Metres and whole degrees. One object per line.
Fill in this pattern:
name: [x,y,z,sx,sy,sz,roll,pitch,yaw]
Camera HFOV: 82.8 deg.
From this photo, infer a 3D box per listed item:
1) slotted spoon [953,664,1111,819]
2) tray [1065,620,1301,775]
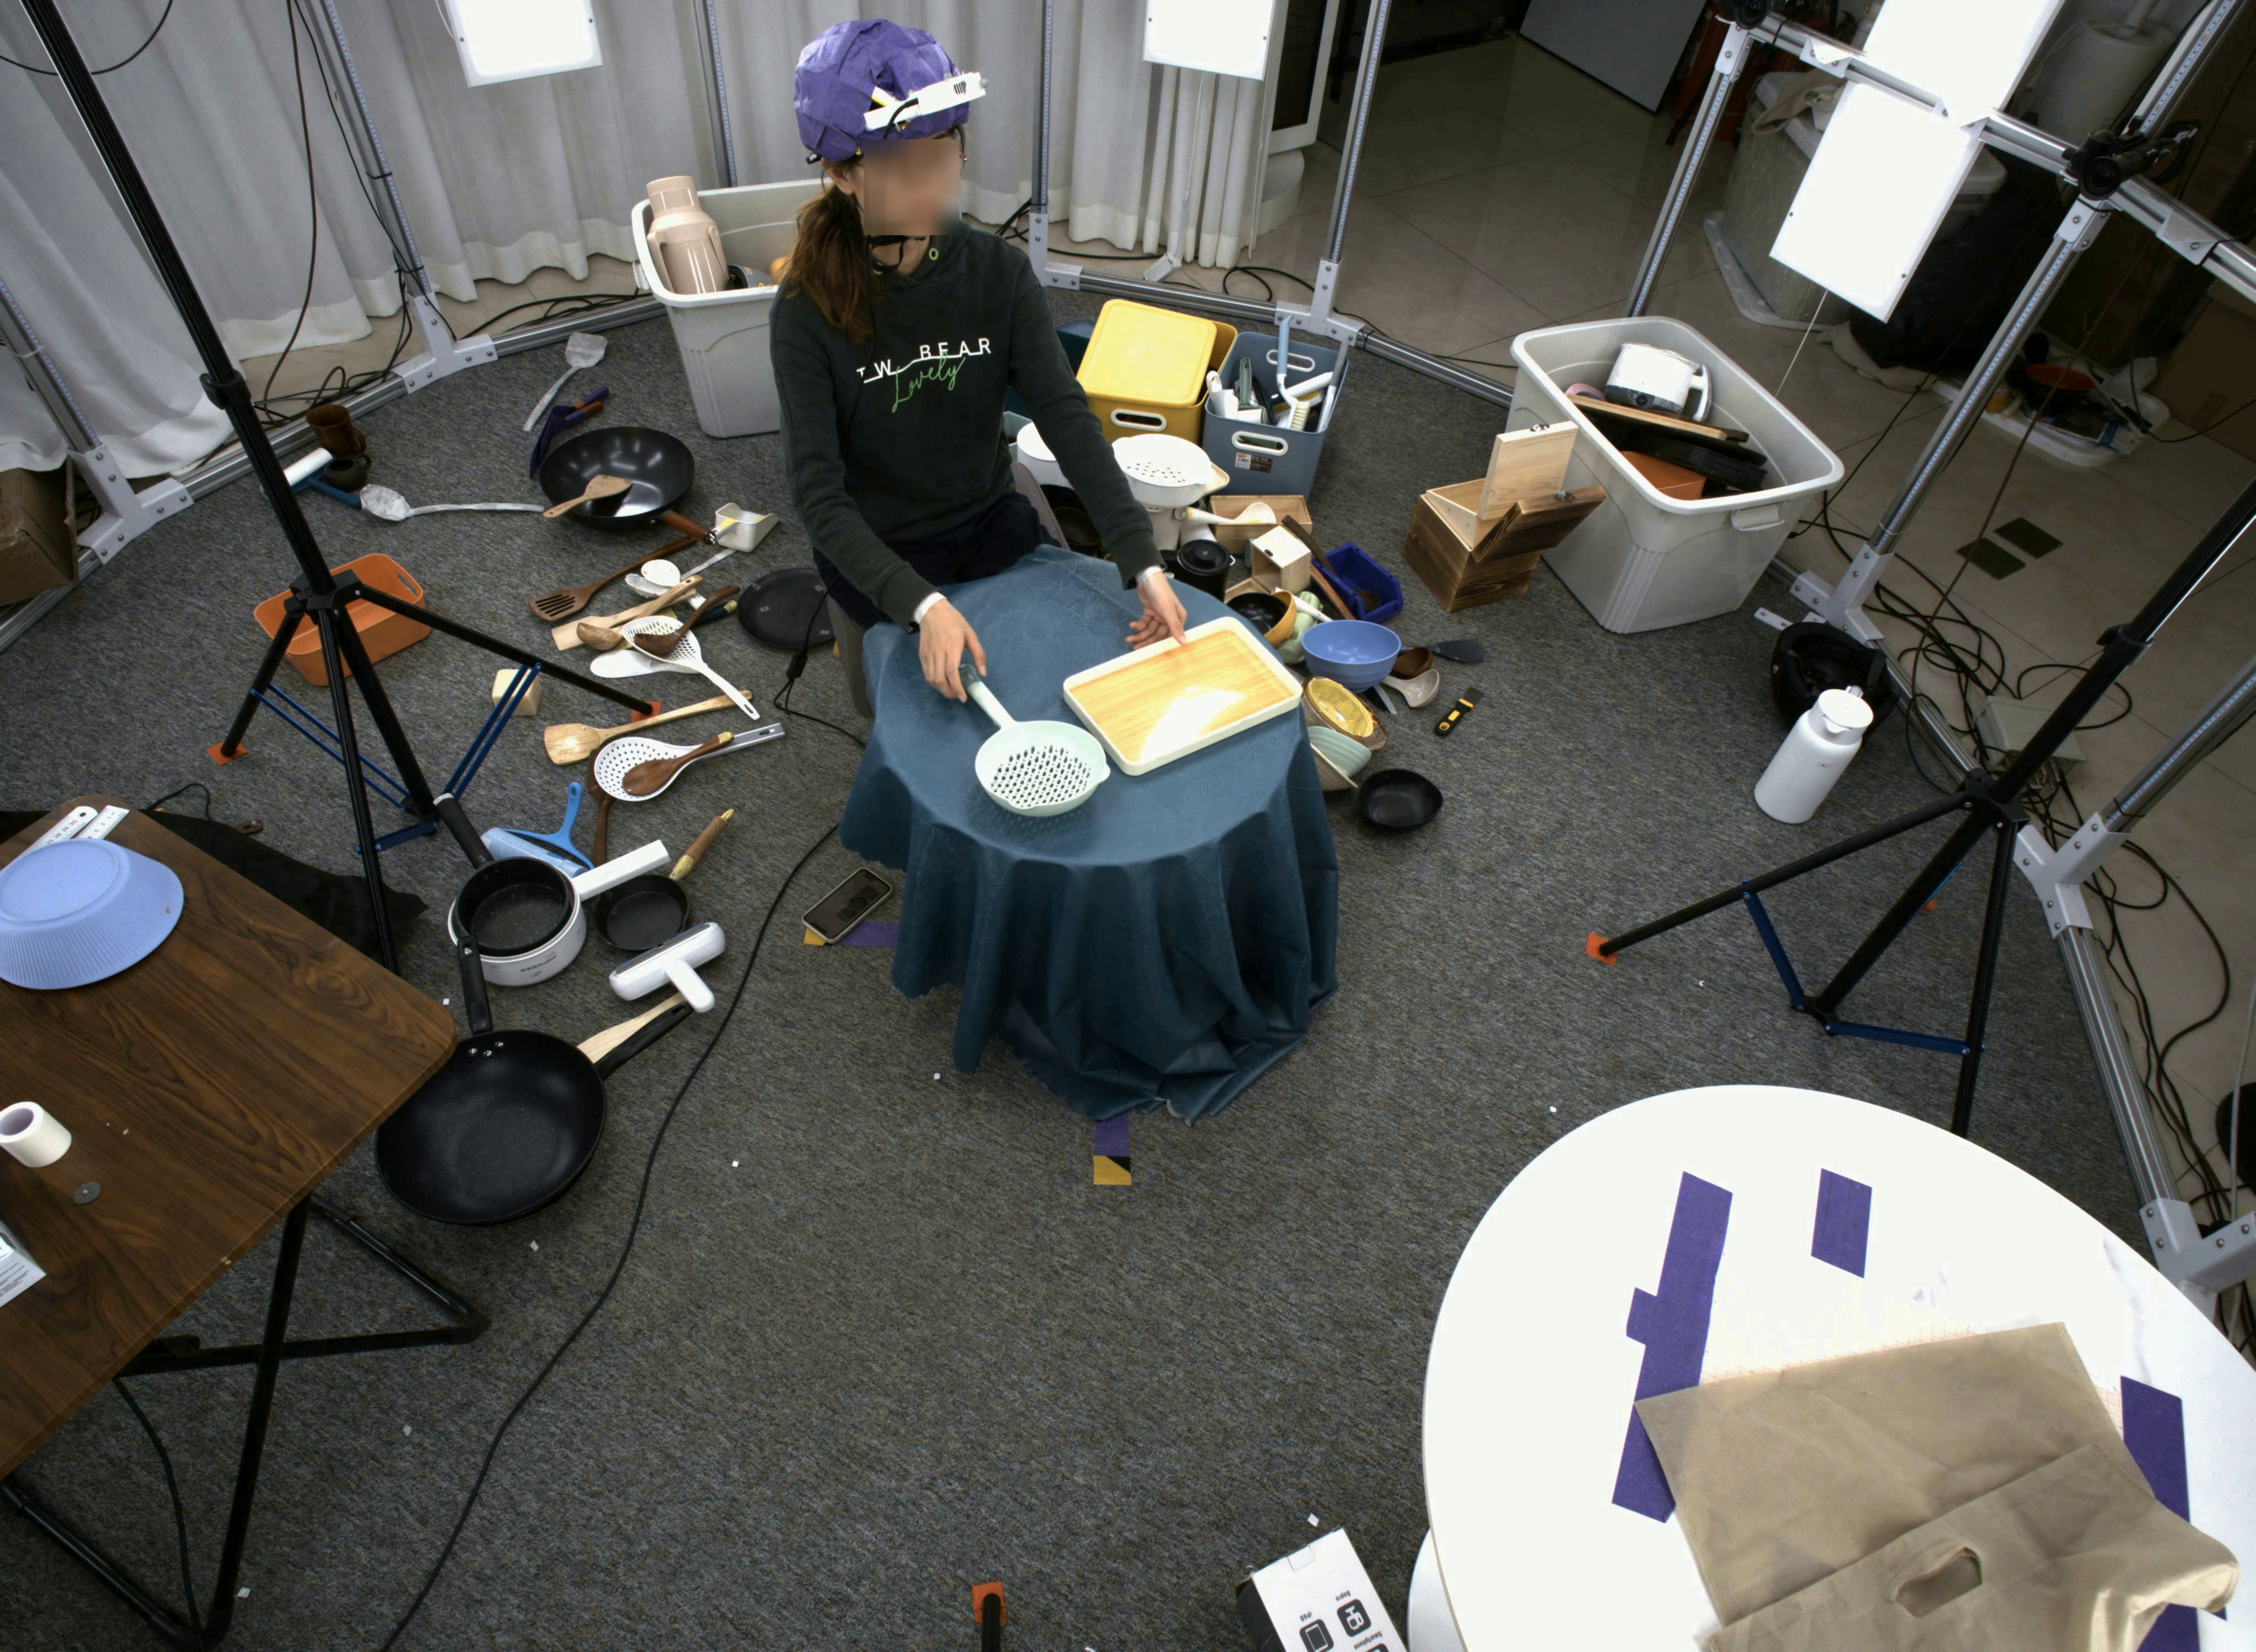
slotted spoon: [-0.160,-0.131,1.746,0.170,0.073,0.366,-20,53,-21]
tray: [0.079,-0.189,1.837,0.301,0.027,0.195,-23,54,-23]
